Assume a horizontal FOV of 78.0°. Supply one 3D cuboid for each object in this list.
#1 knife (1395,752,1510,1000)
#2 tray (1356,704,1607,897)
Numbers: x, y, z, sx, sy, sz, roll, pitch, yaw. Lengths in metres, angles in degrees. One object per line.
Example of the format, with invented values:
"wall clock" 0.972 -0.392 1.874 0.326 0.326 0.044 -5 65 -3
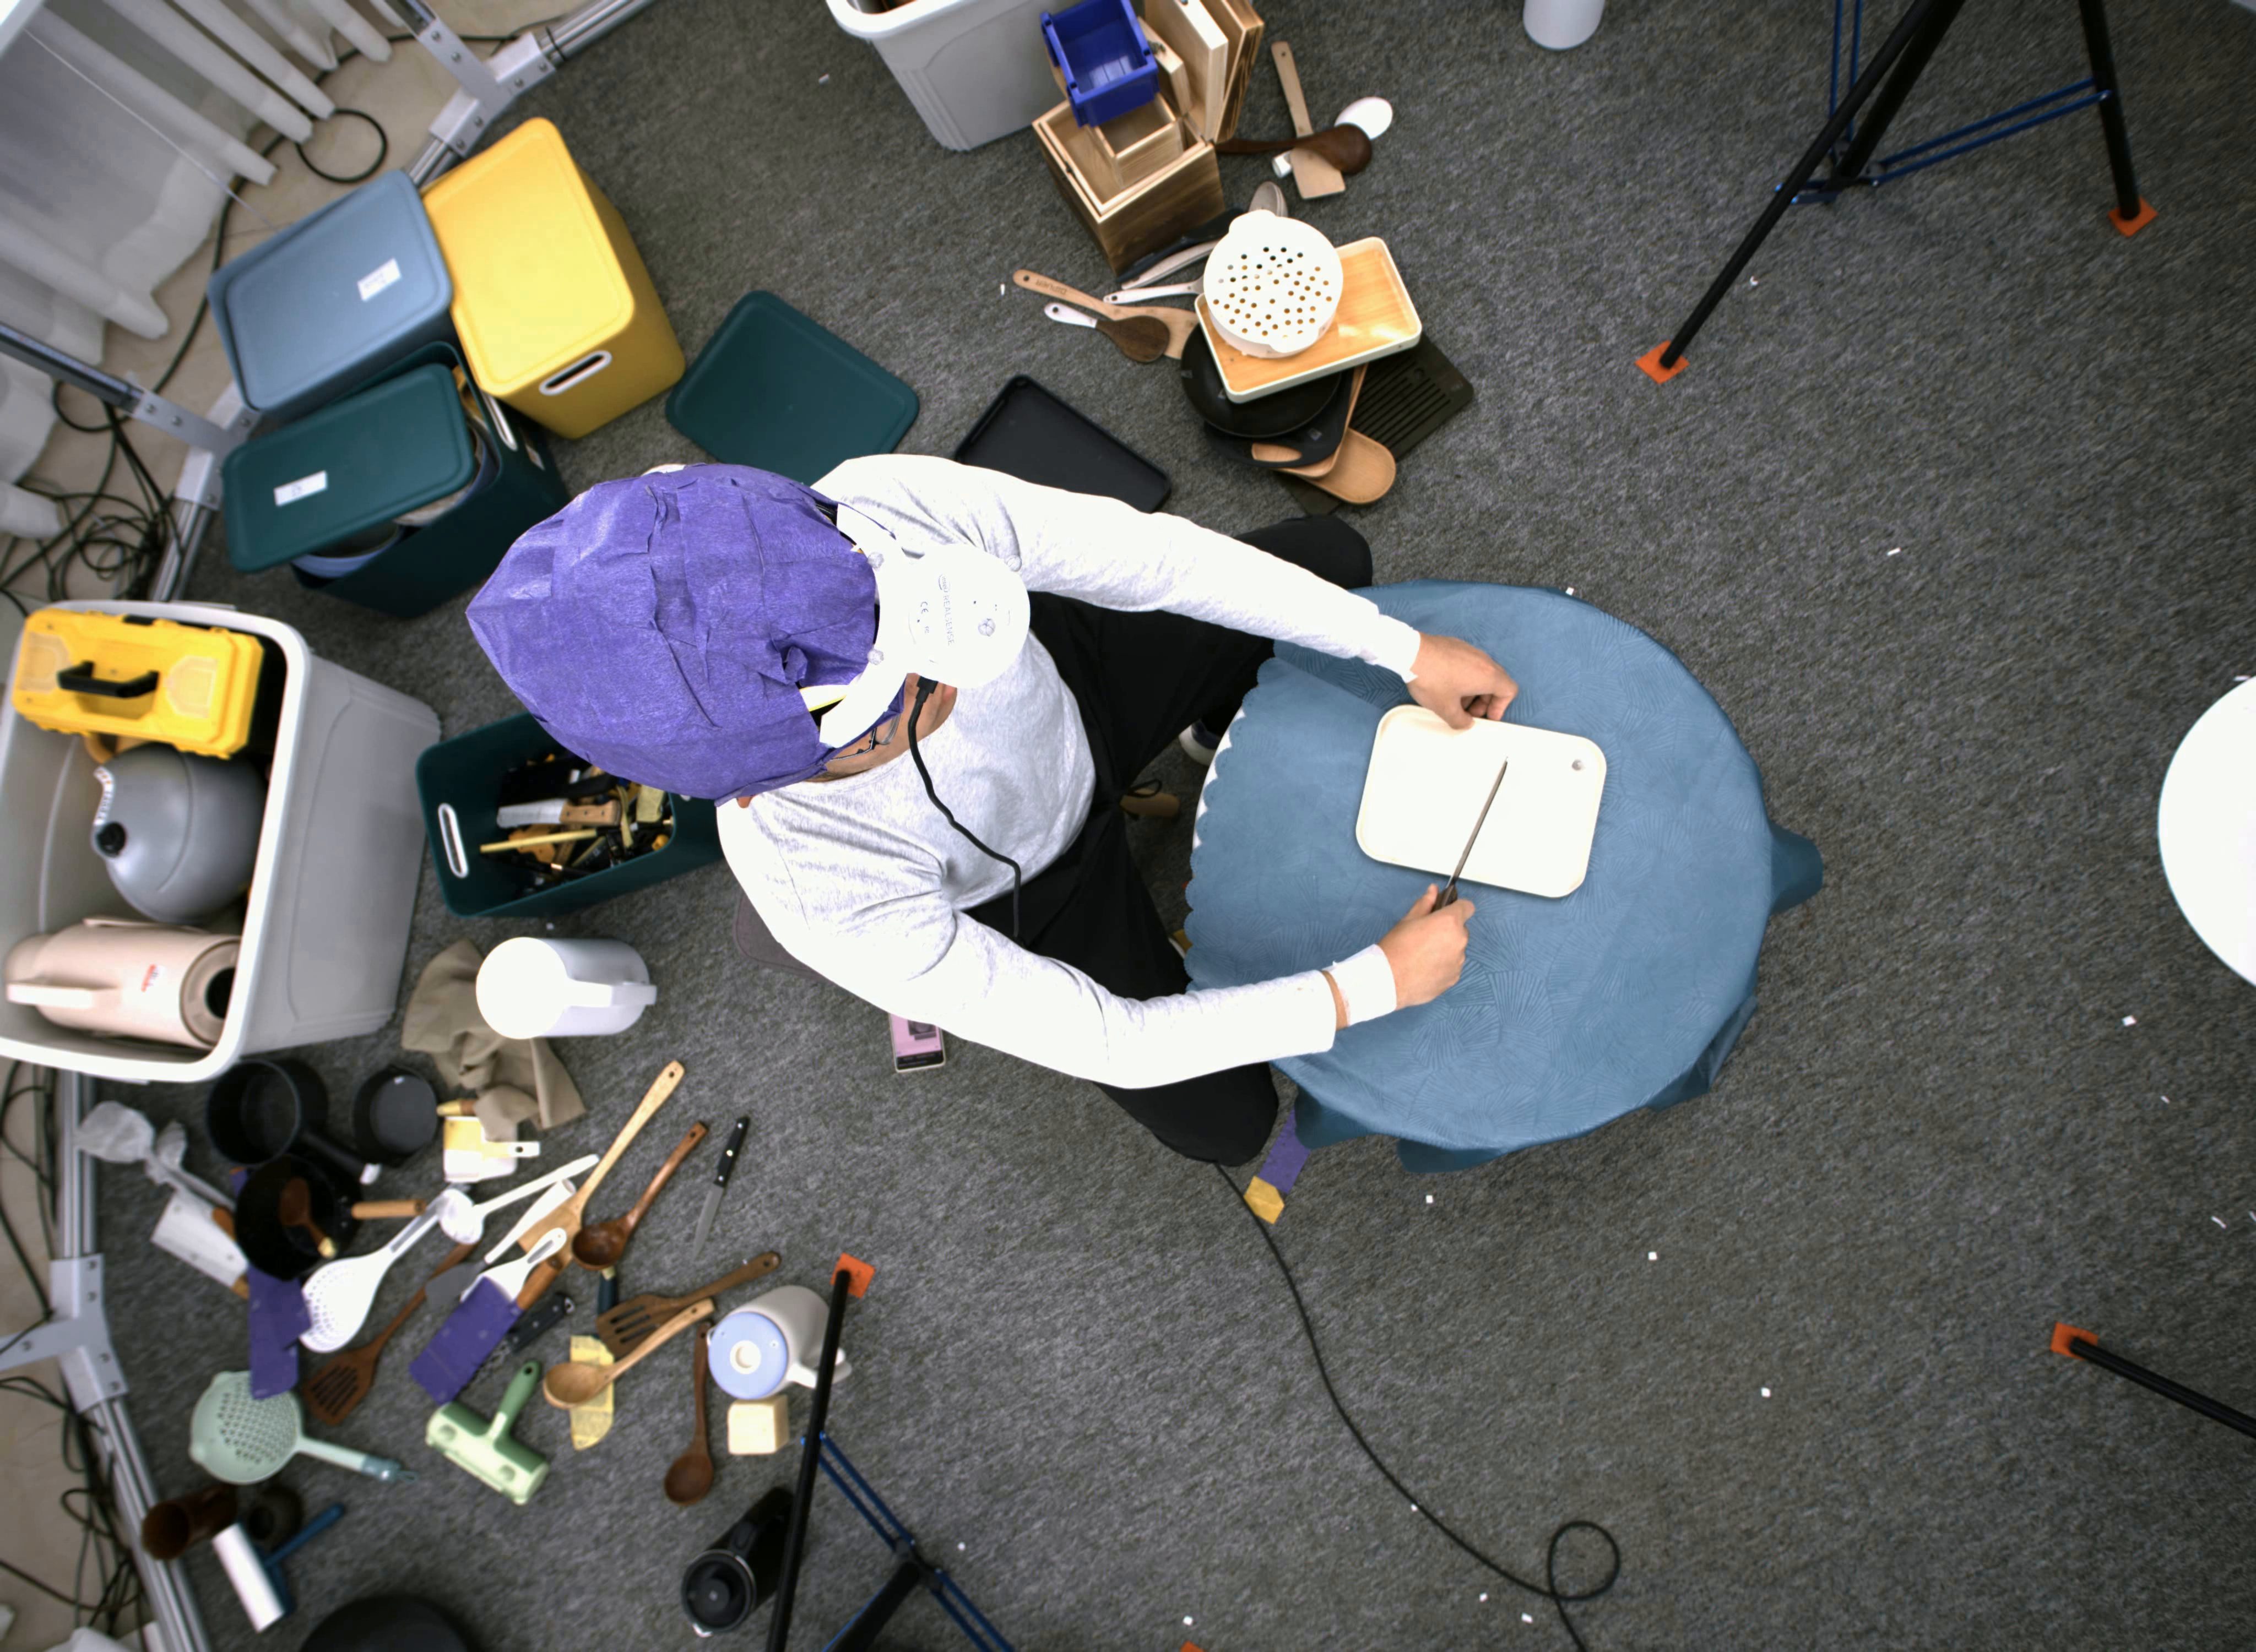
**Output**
"knife" 0.336 0.046 1.406 0.020 0.051 0.286 26 79 2
"tray" 0.369 -0.029 1.438 0.240 0.017 0.171 13 89 11
